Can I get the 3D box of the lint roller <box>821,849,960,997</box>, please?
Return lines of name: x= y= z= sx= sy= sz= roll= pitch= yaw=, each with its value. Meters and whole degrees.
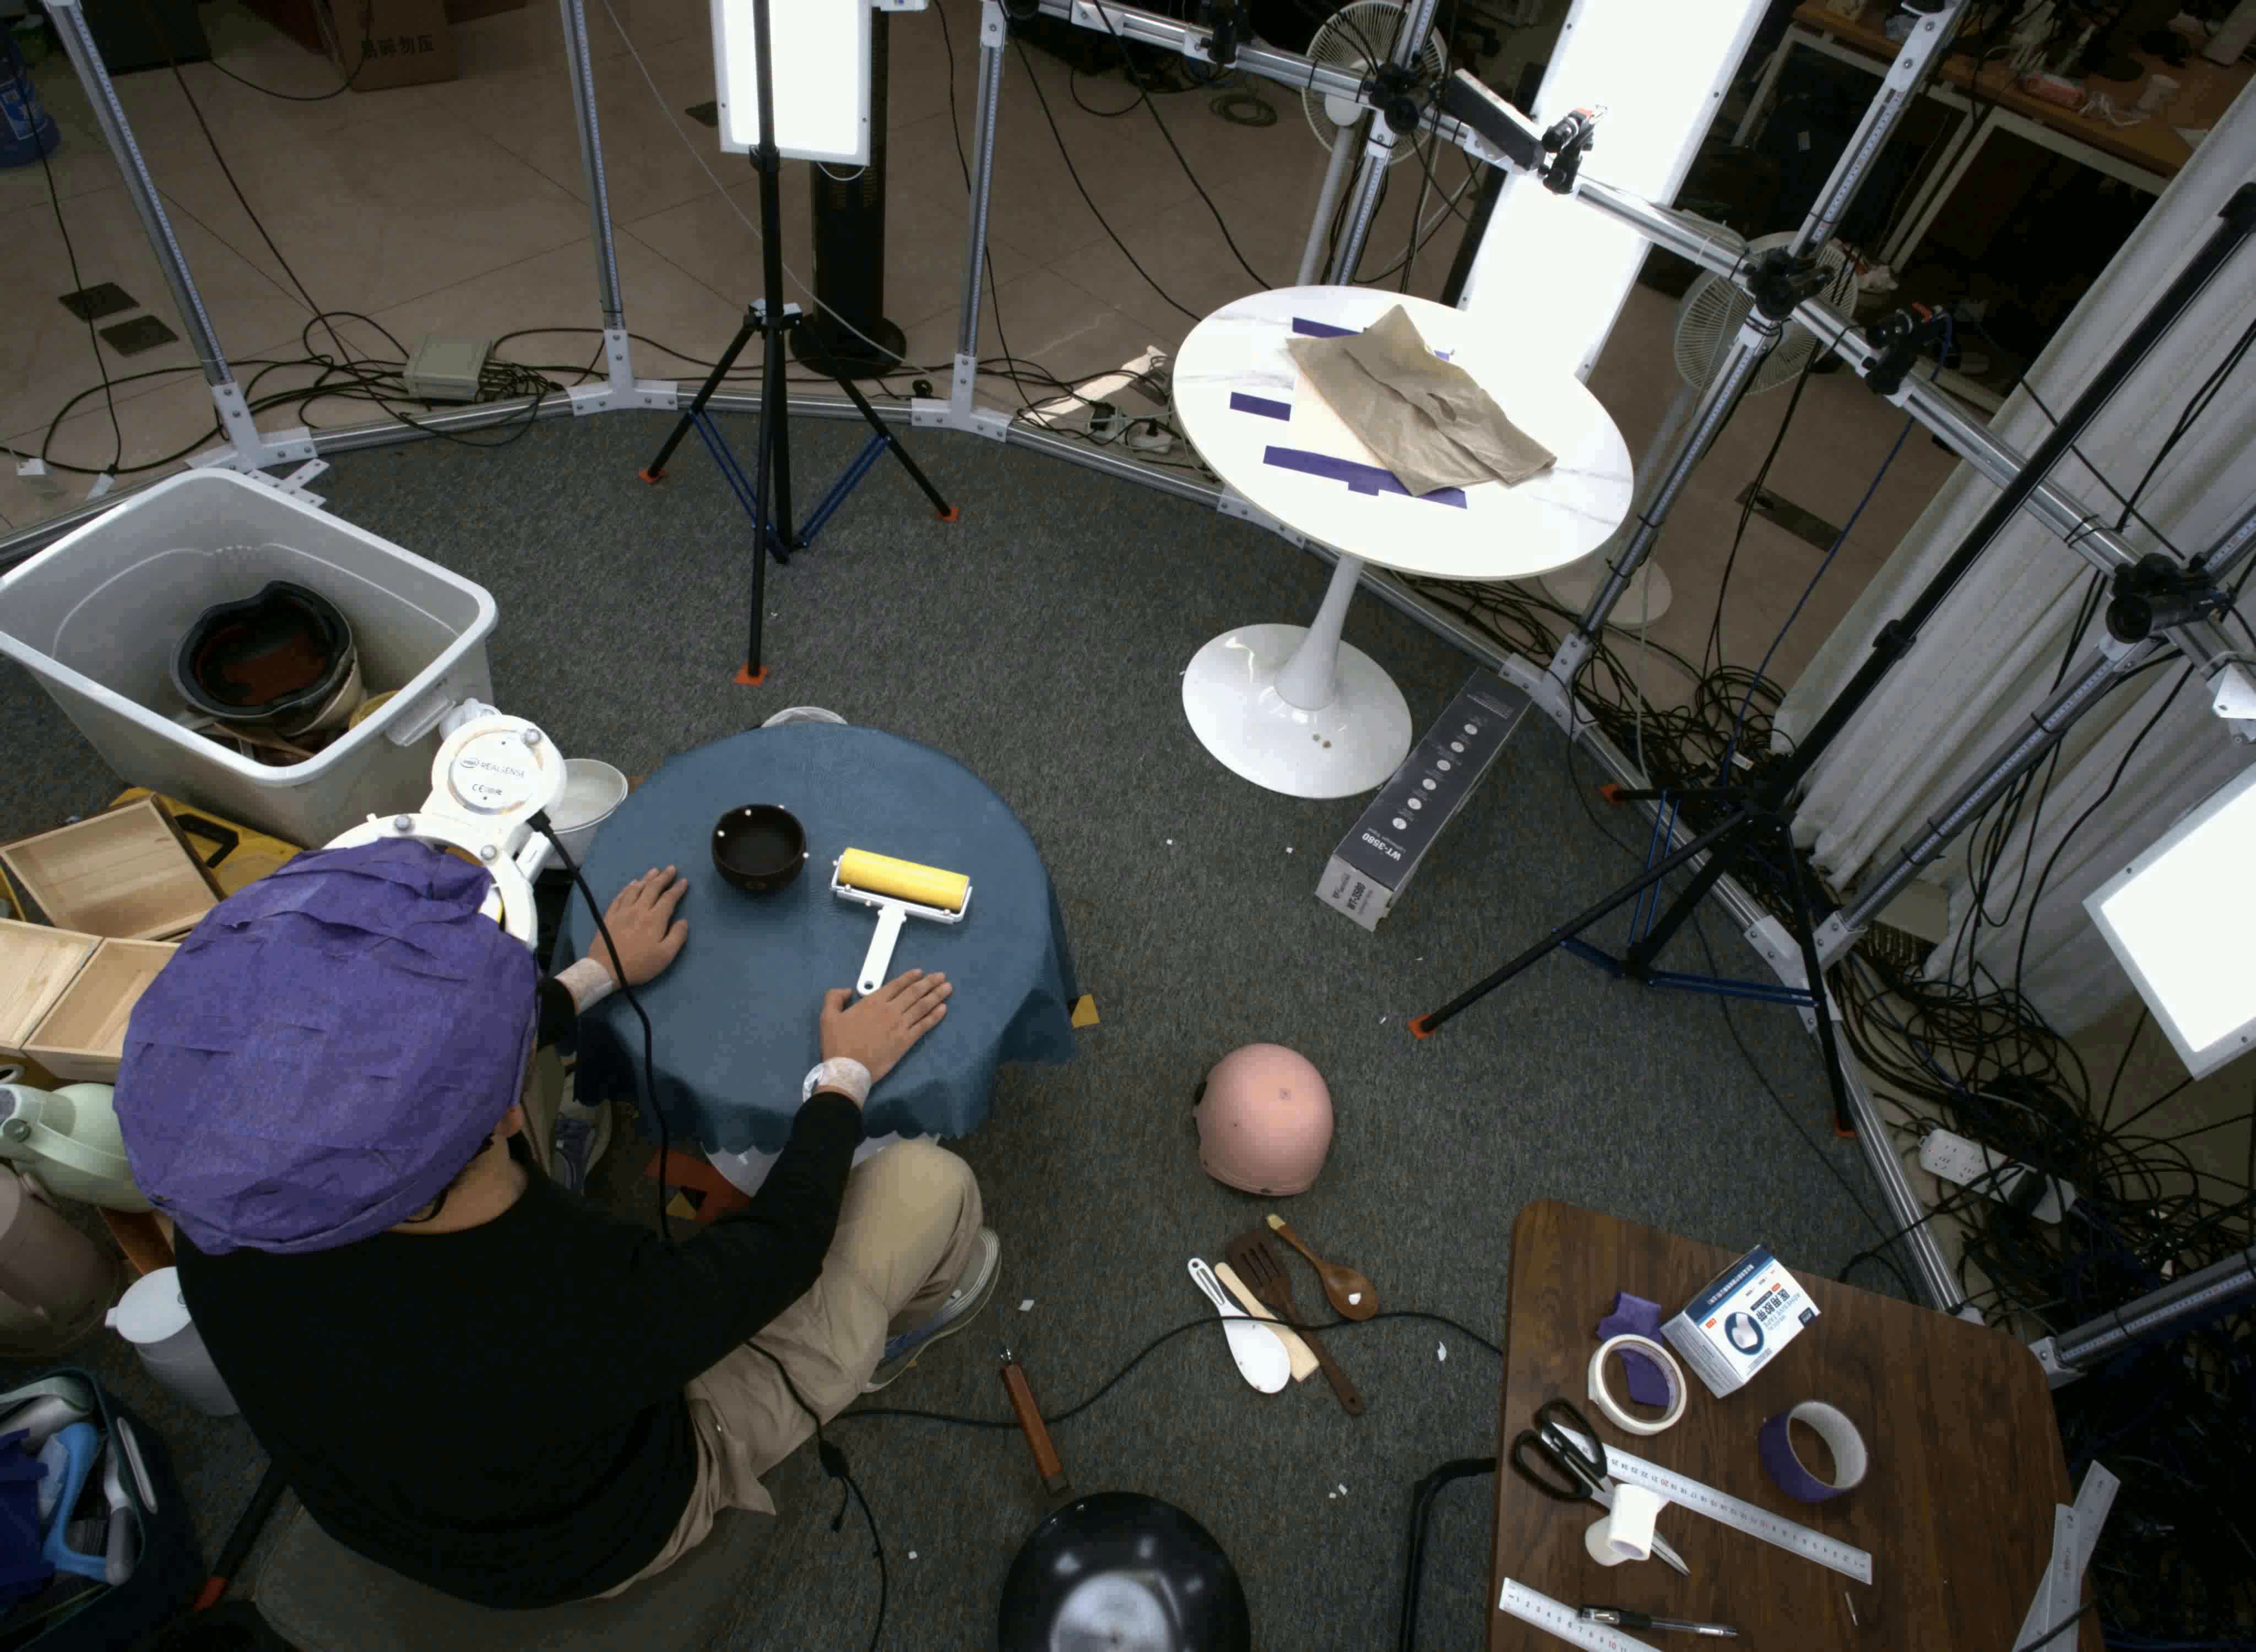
lint roller: x=-0.310 y=0.120 z=1.625 sx=0.173 sy=0.052 sz=0.189 roll=12 pitch=47 yaw=-5

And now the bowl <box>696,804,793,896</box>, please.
bowl: x=-0.482 y=0.037 z=1.628 sx=0.118 sy=0.071 sz=0.116 roll=8 pitch=51 yaw=-8
